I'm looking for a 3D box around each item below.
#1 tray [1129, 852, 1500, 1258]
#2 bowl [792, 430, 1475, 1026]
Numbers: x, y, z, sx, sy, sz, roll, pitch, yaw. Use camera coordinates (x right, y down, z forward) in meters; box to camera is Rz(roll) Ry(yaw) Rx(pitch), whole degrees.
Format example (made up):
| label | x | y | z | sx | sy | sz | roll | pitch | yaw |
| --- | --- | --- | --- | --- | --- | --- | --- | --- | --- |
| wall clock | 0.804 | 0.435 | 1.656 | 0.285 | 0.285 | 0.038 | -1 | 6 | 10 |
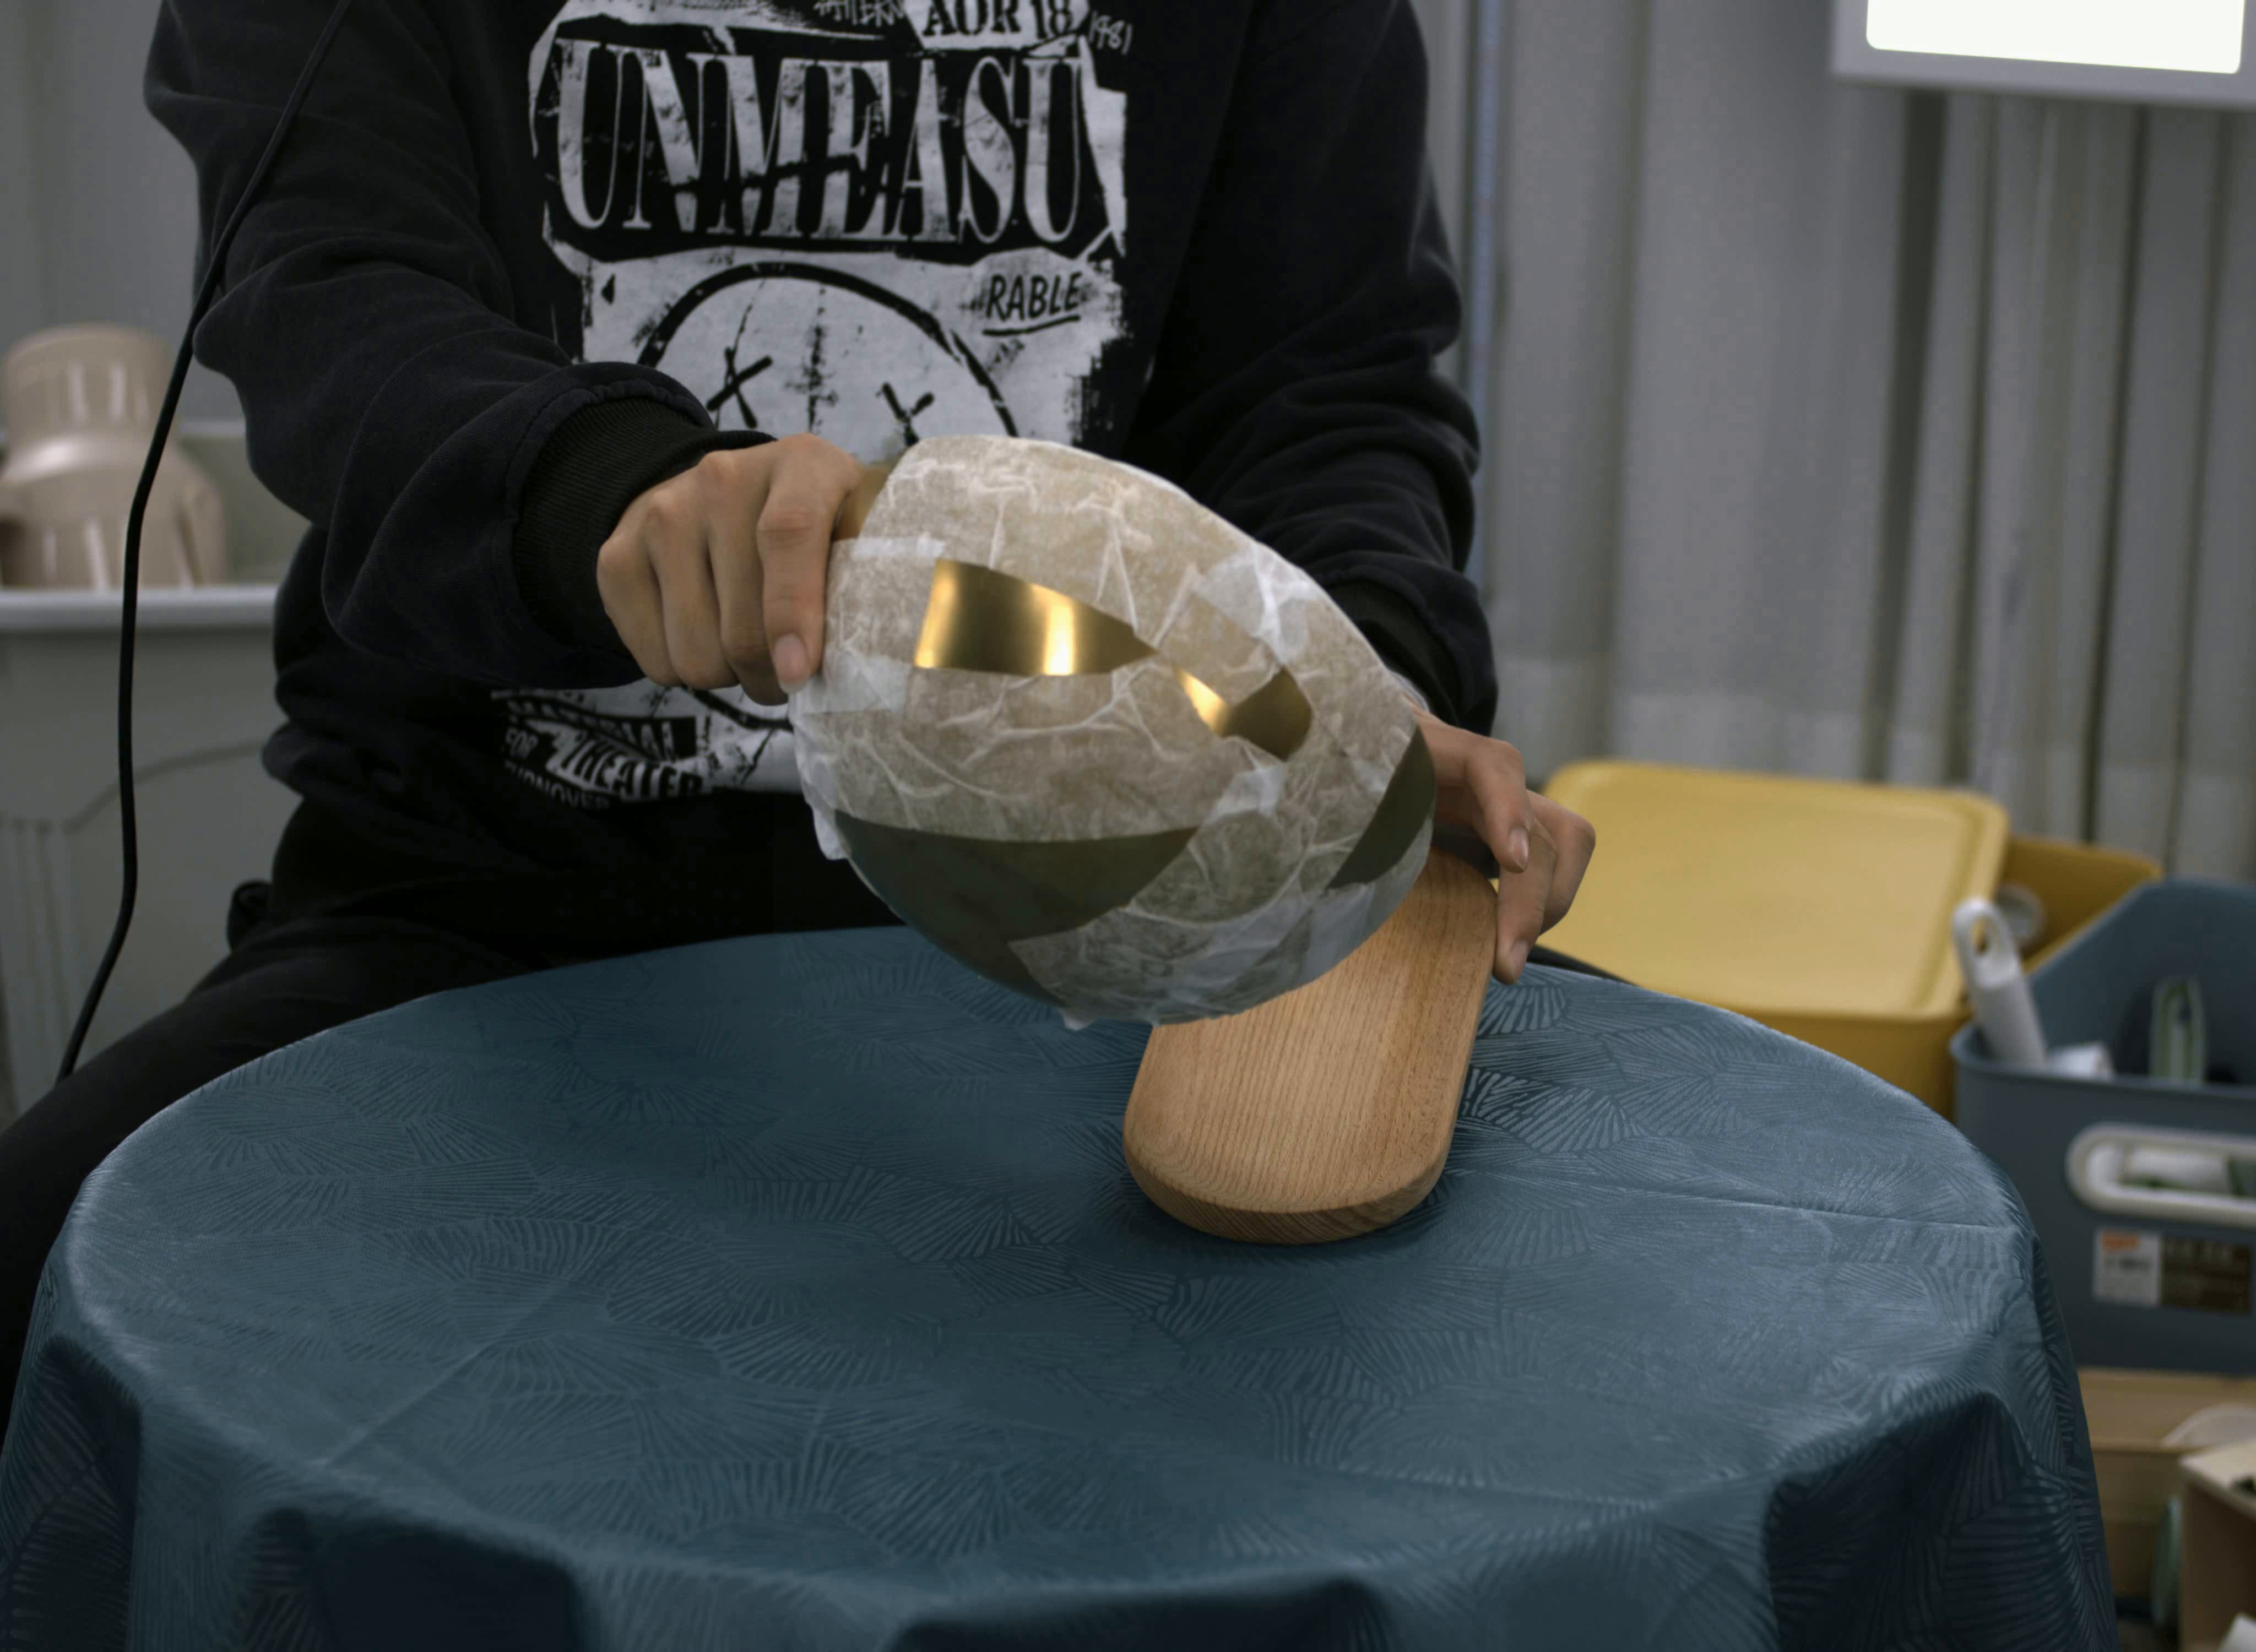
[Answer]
| label | x | y | z | sx | sy | sz | roll | pitch | yaw |
| --- | --- | --- | --- | --- | --- | --- | --- | --- | --- |
| tray | 0.061 | 0.067 | 1.670 | 0.101 | 0.020 | 0.230 | 3 | 32 | 9 |
| bowl | -0.016 | -0.007 | 1.505 | 0.212 | 0.218 | 0.094 | 11 | 55 | 32 |
